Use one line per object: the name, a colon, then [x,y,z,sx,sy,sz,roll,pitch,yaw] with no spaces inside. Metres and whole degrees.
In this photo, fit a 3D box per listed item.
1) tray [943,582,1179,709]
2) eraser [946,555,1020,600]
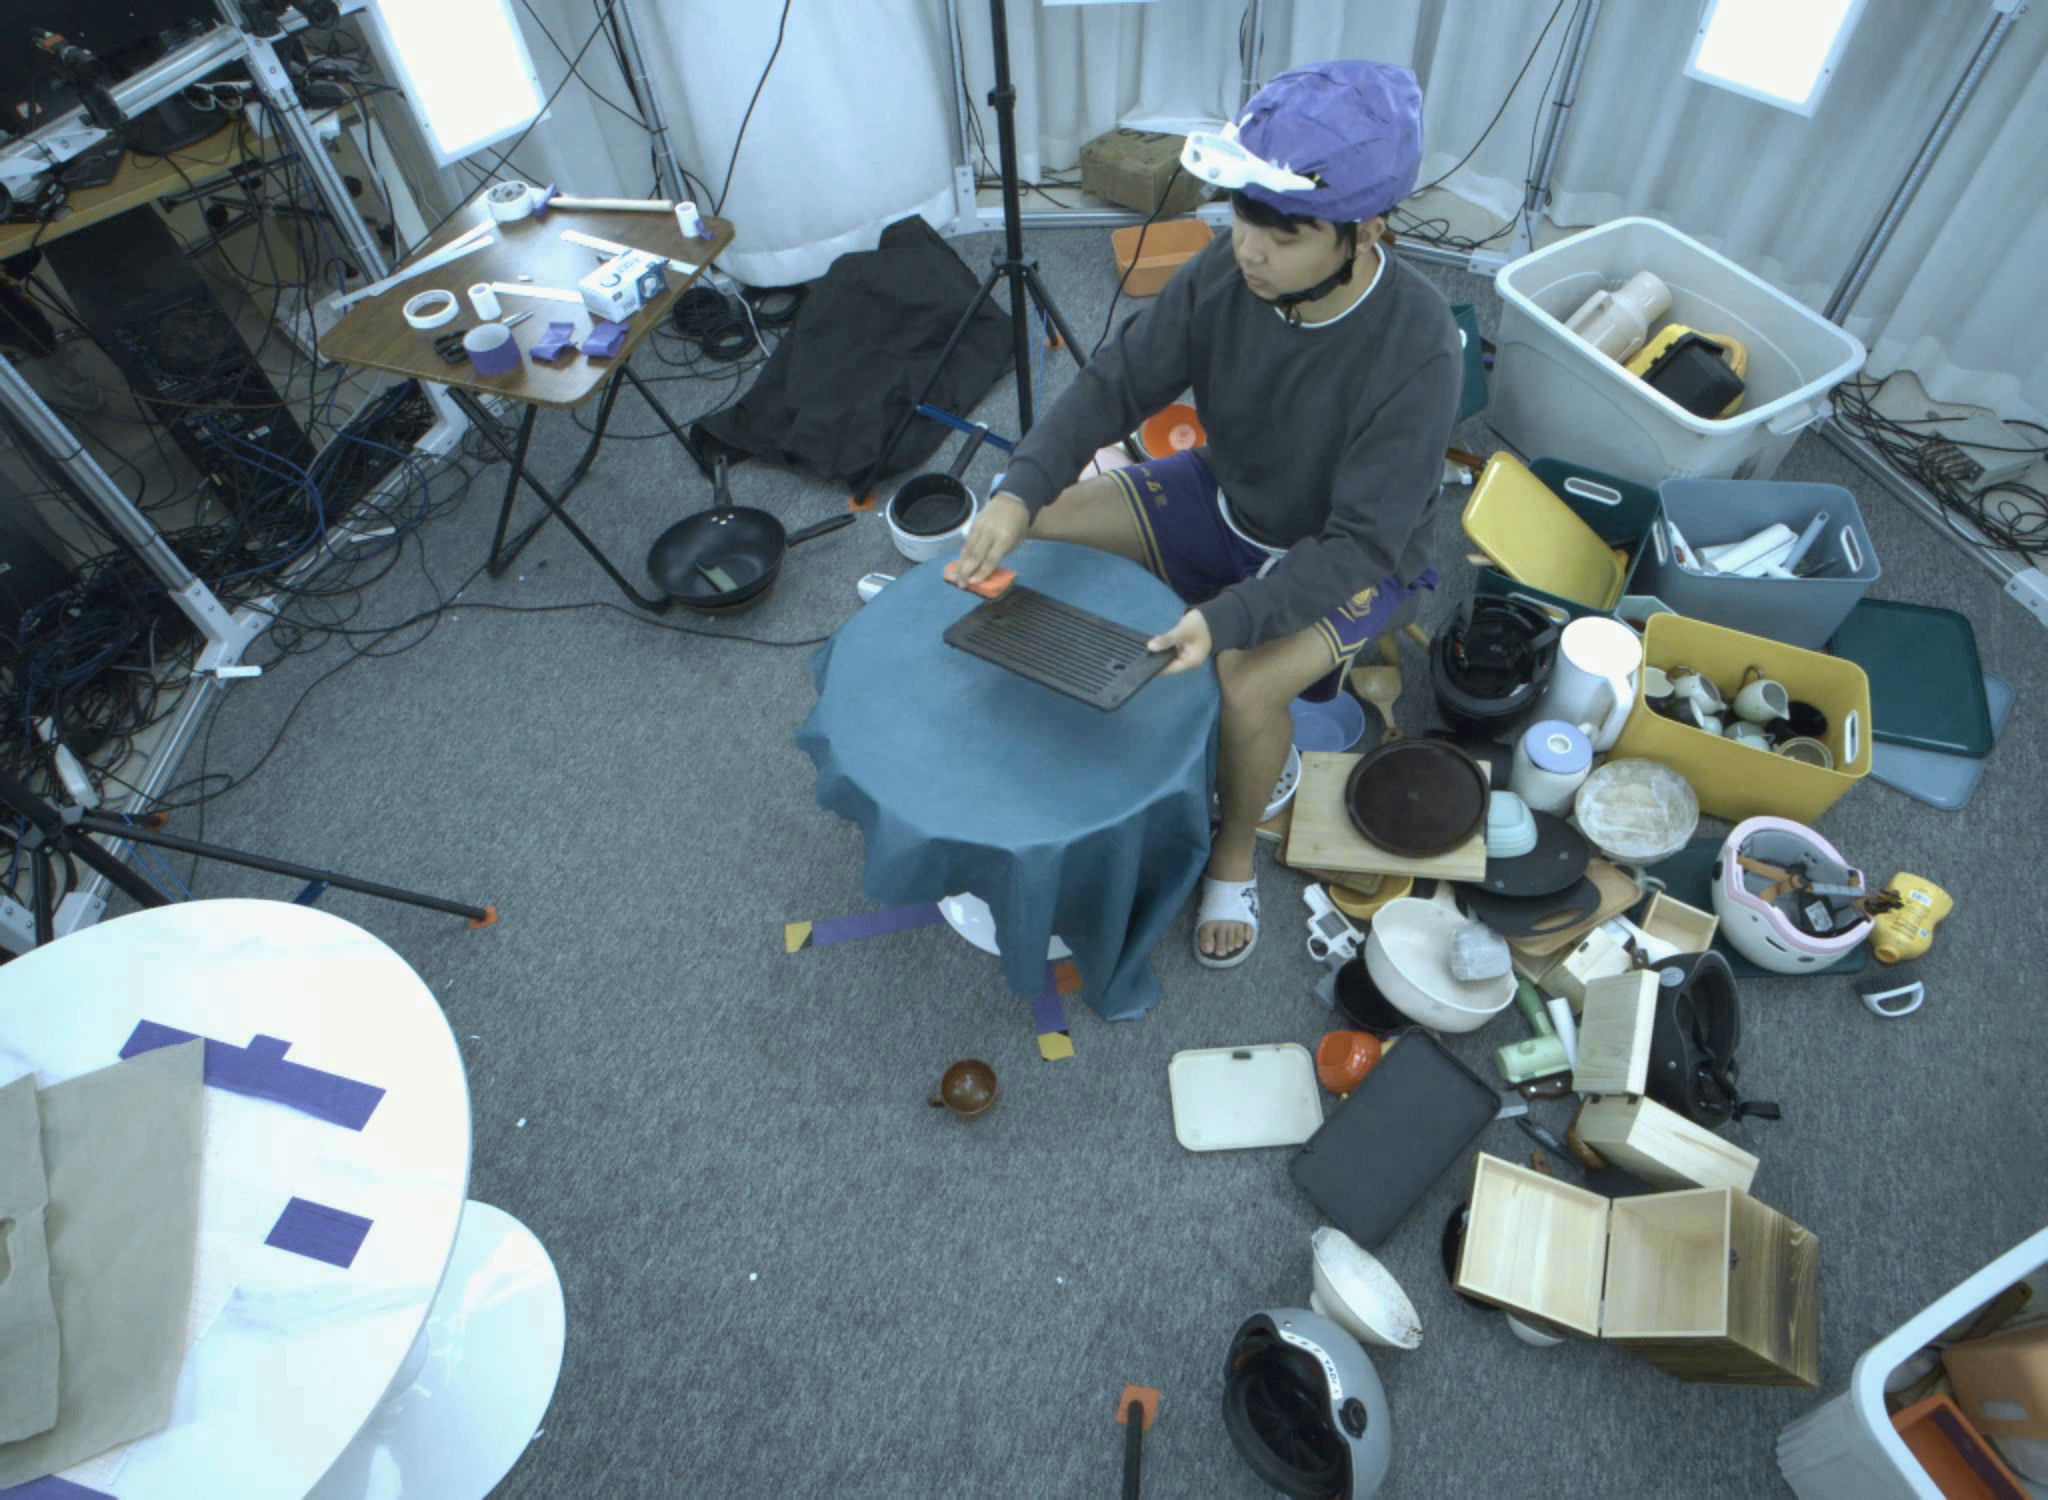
tray: [0.050,-0.151,1.743,0.300,0.019,0.171,25,48,28]
eraser: [-0.062,-0.260,1.842,0.105,0.023,0.059,25,48,33]
